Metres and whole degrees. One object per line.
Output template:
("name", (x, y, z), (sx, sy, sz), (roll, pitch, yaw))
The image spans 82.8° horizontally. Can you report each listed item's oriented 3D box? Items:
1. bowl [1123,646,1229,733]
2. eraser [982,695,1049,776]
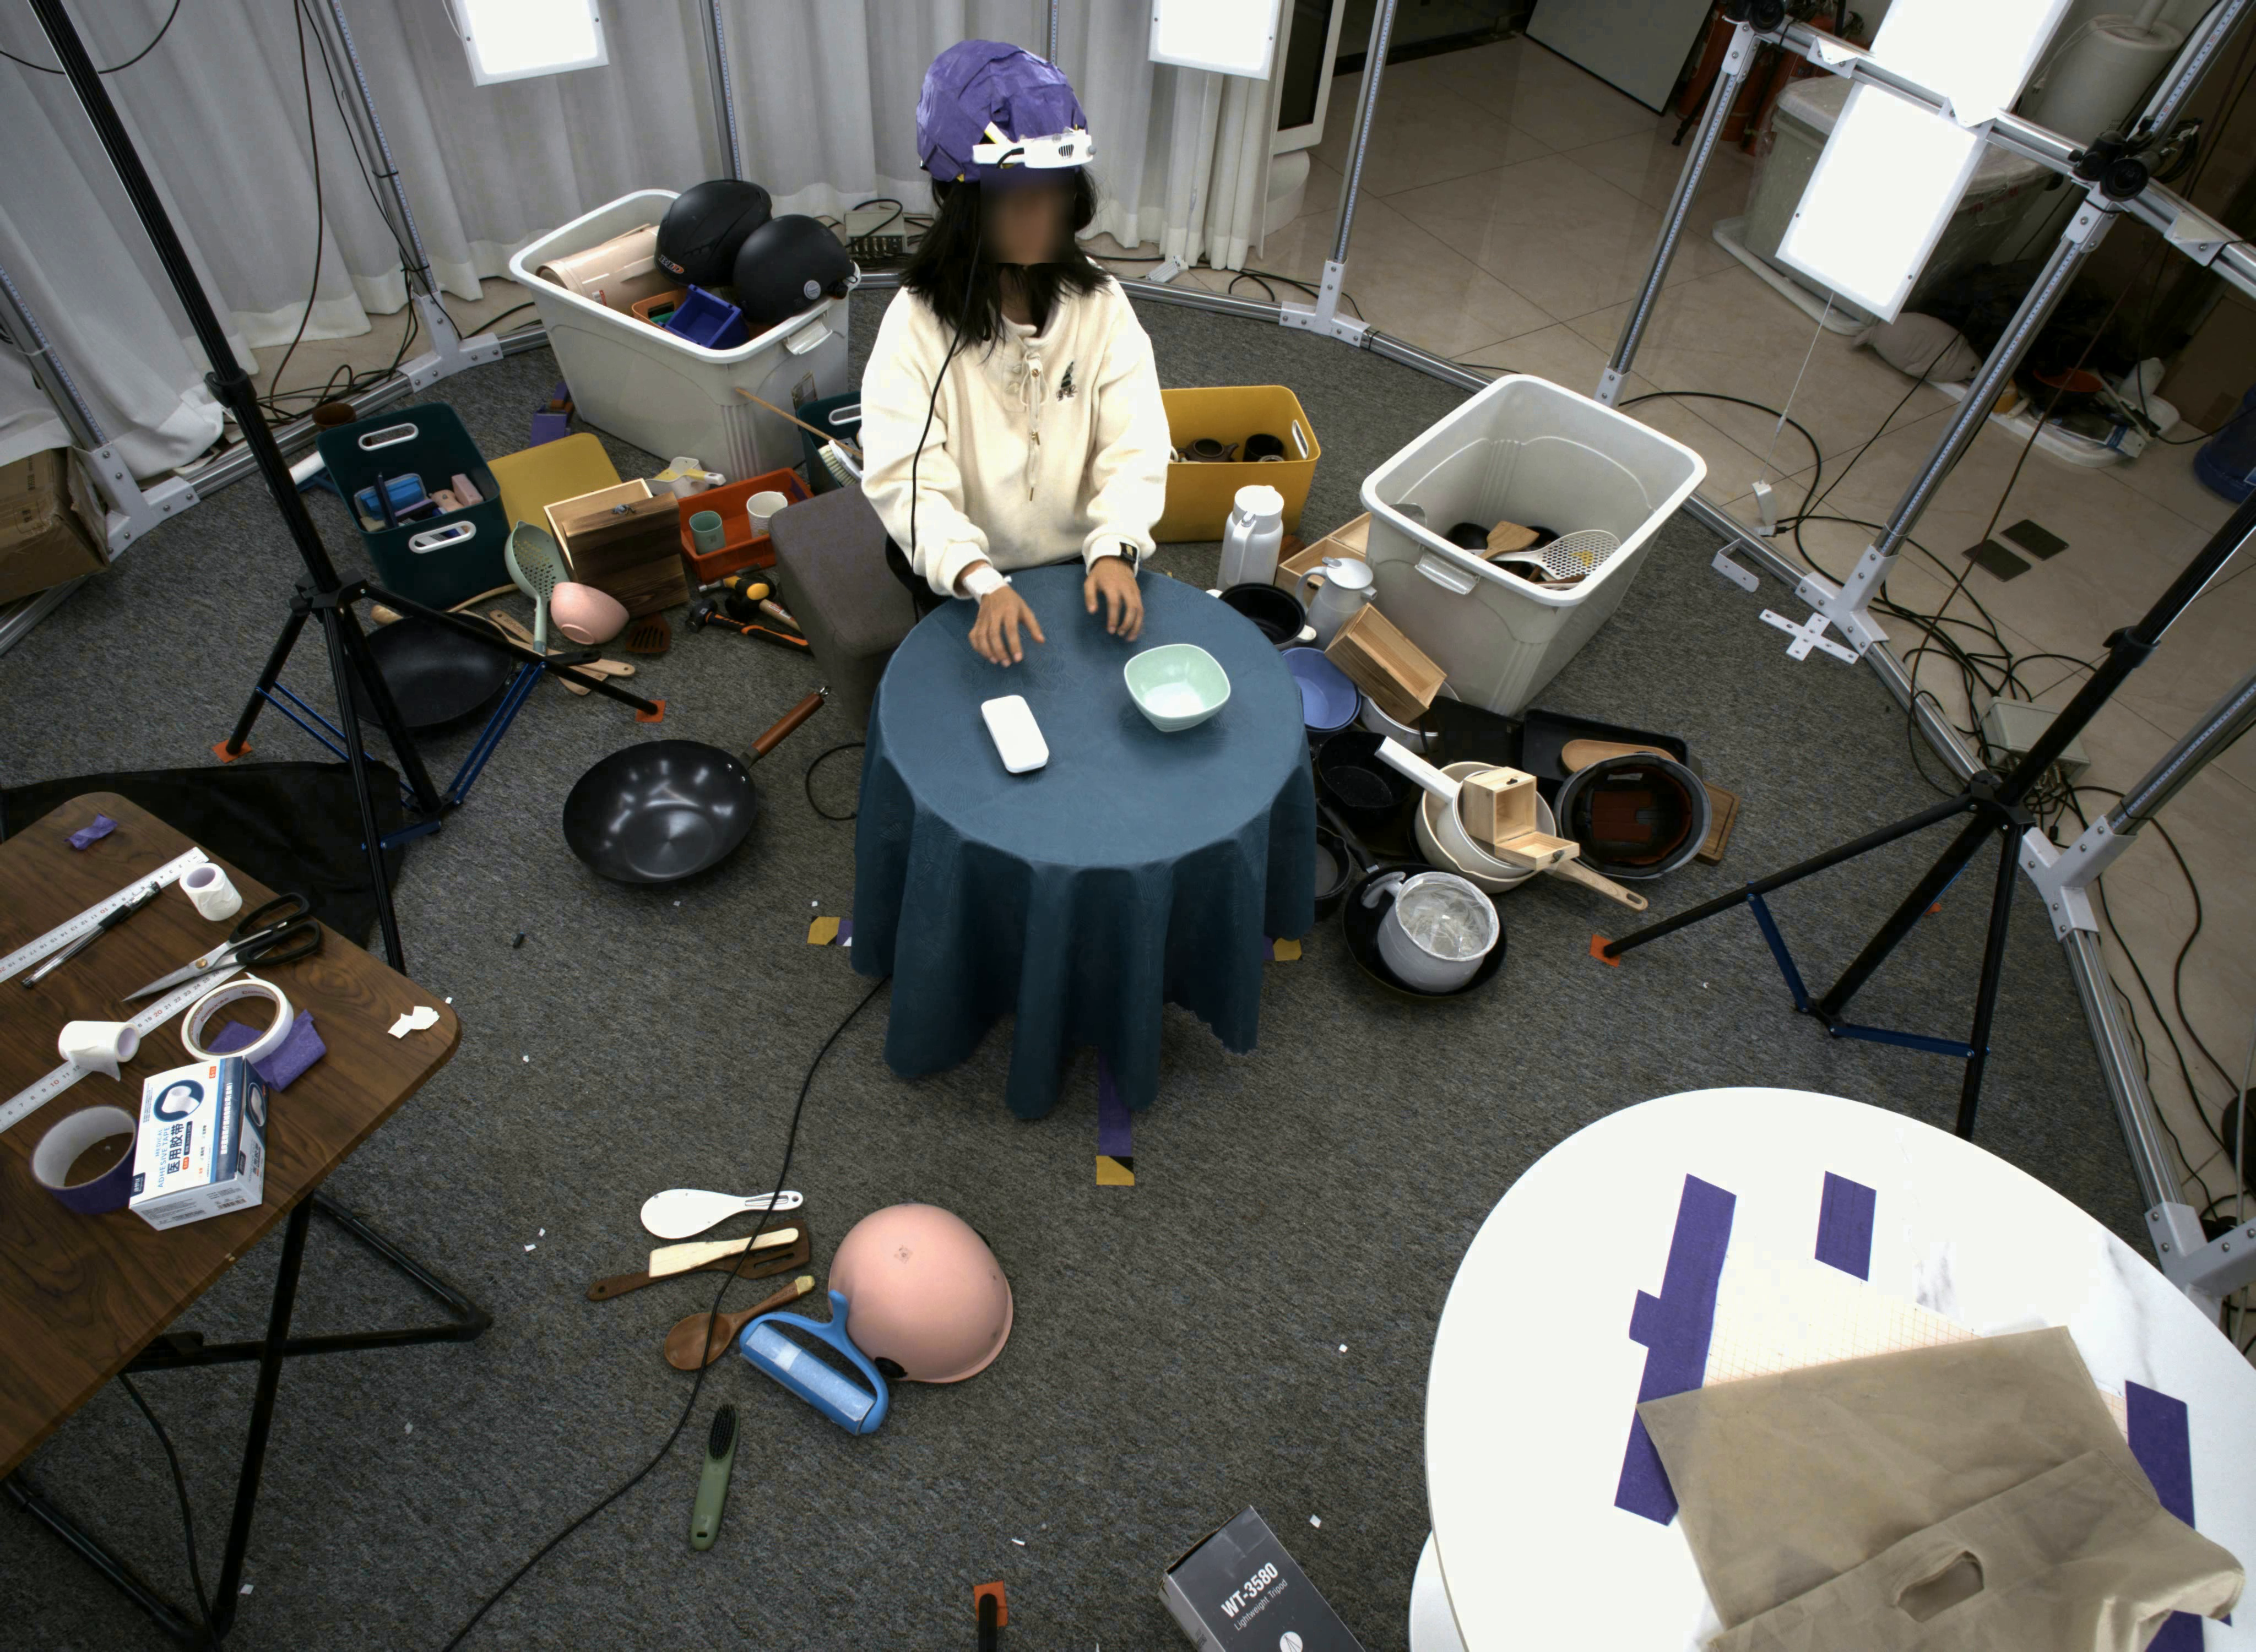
("bowl", (0.064, -0.183, 1.798), (0.151, 0.057, 0.155), (3, 48, -3))
("eraser", (-0.153, -0.126, 1.749), (0.063, 0.034, 0.134), (-14, 52, -15))
